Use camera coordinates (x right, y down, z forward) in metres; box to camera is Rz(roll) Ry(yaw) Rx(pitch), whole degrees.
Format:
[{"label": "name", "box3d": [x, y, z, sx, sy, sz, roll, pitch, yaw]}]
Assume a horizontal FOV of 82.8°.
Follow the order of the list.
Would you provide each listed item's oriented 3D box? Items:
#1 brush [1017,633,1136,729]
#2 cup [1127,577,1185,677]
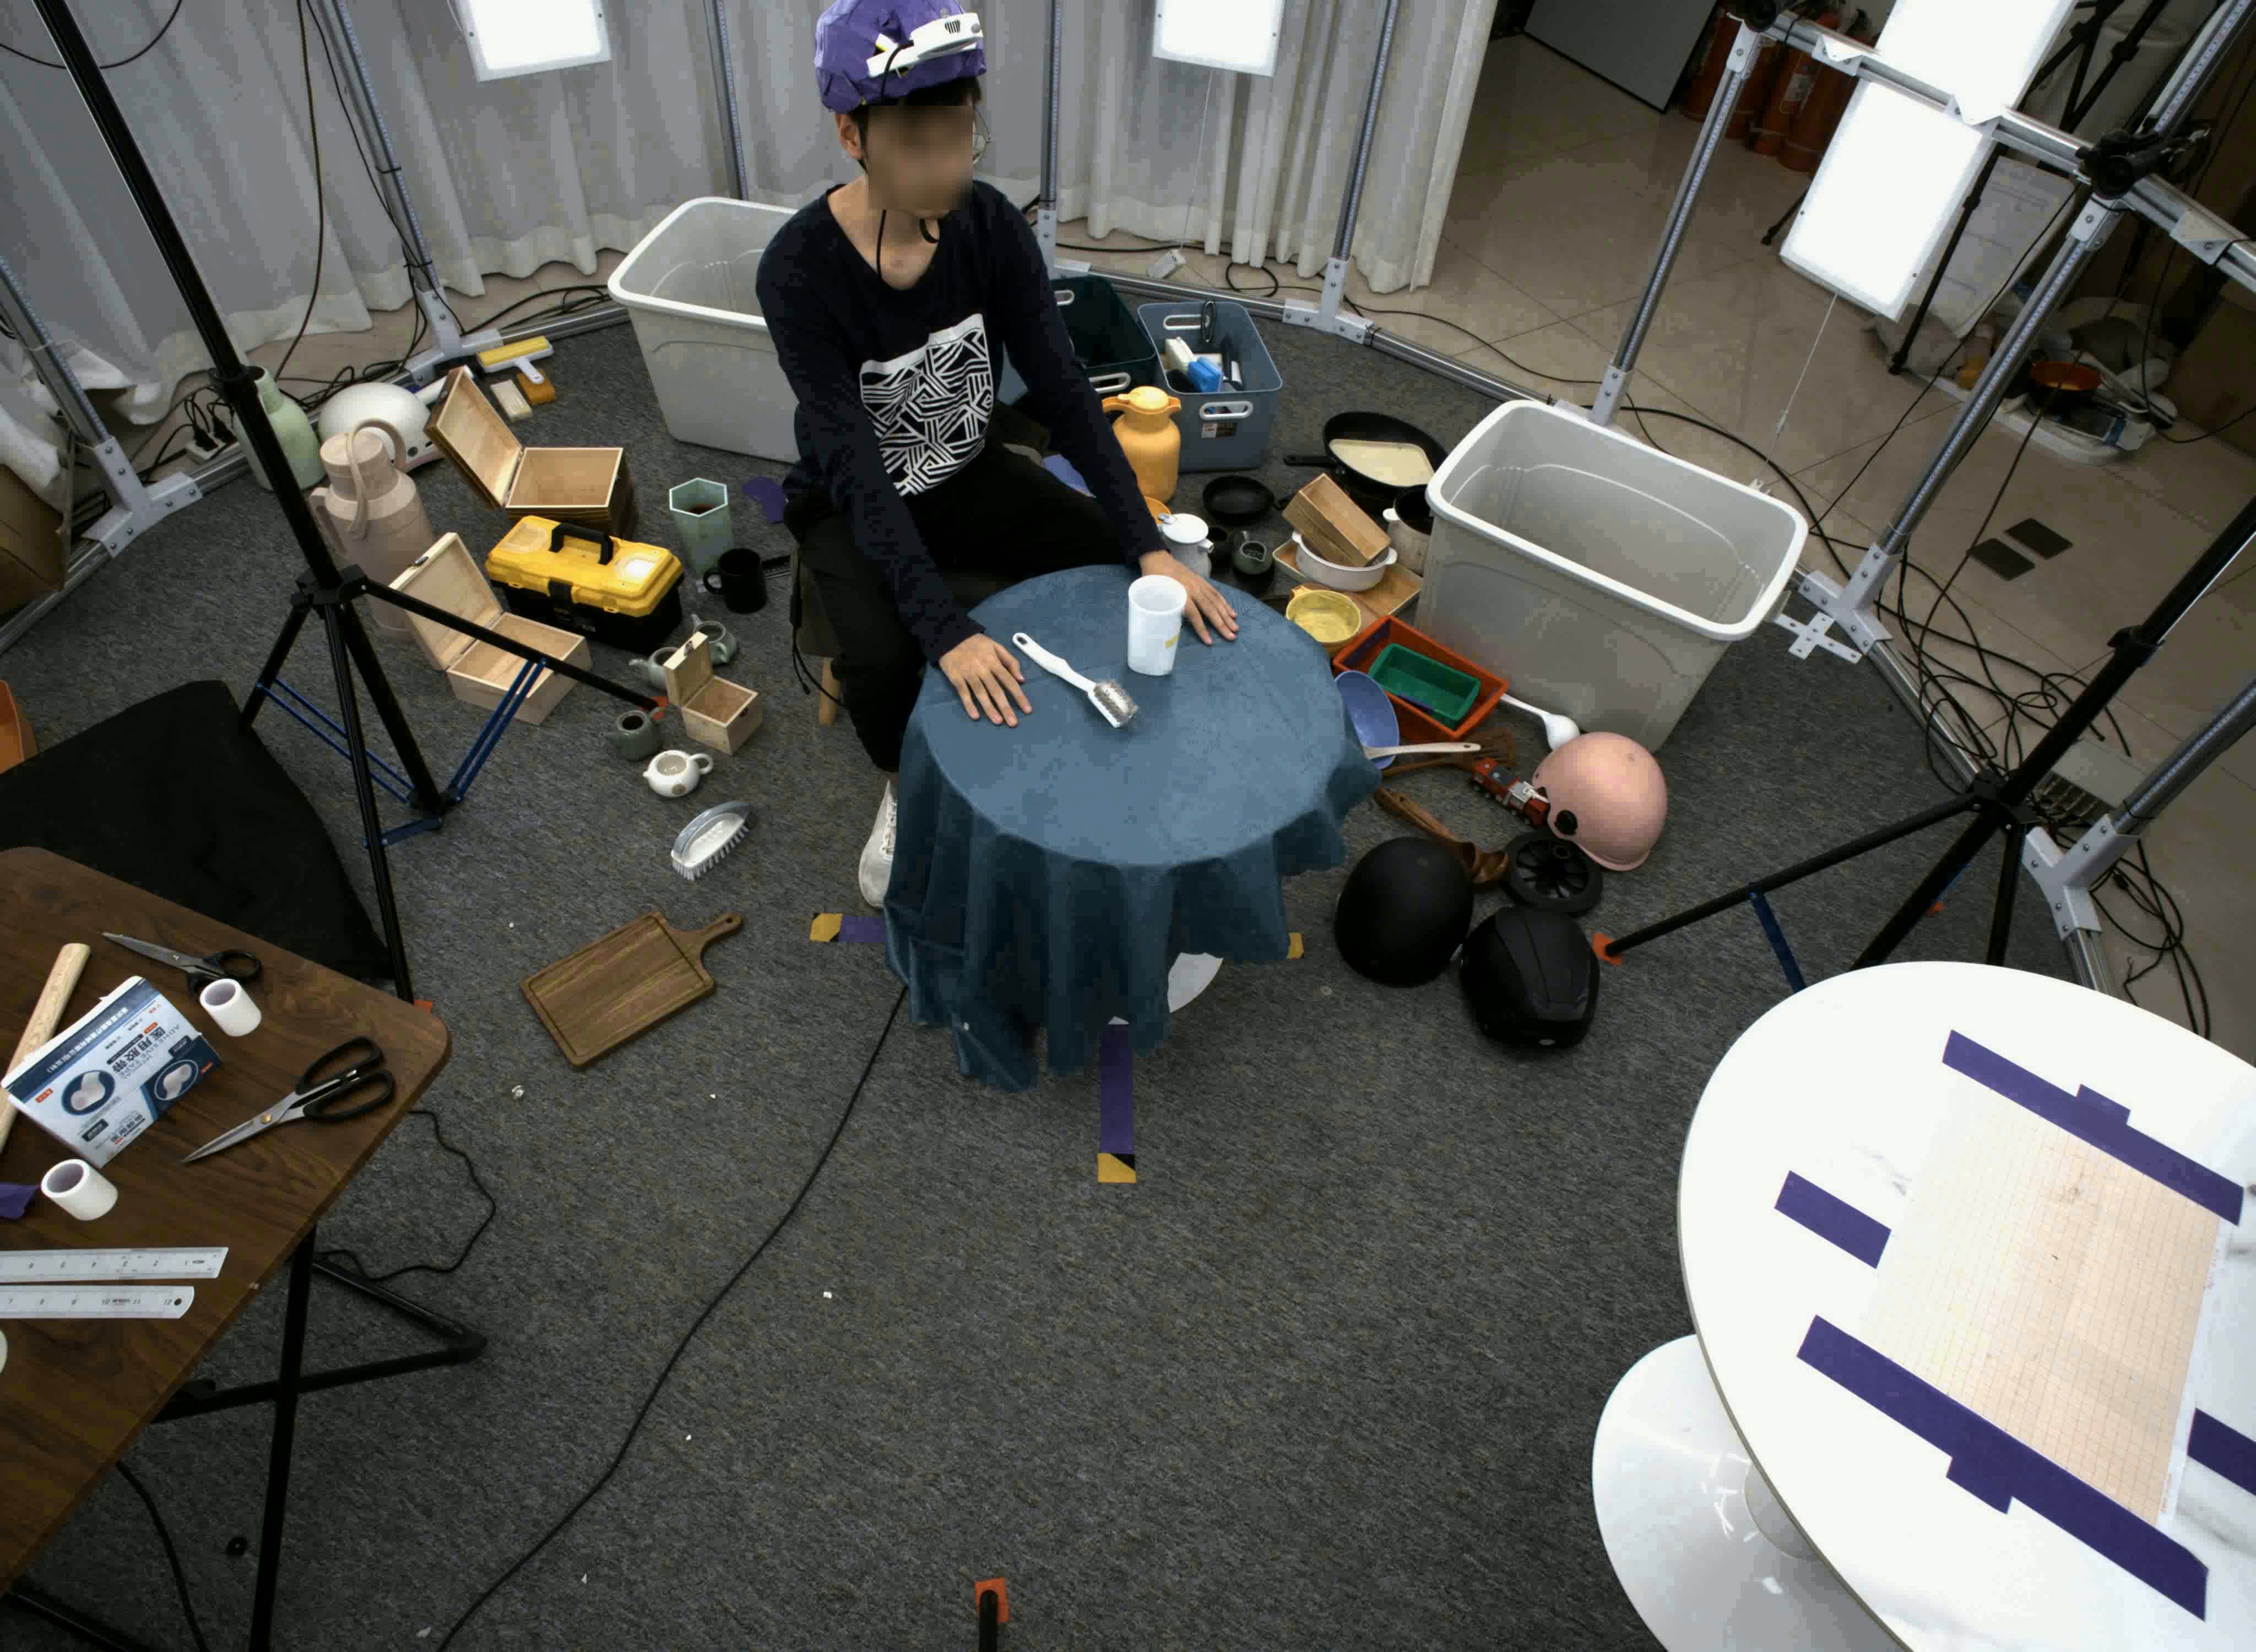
[{"label": "brush", "box3d": [-0.077, -0.221, 1.824, 0.034, 0.049, 0.248, -33, 58, -25]}, {"label": "cup", "box3d": [0.036, -0.282, 1.837, 0.081, 0.122, 0.084, 2, 47, -2]}]
